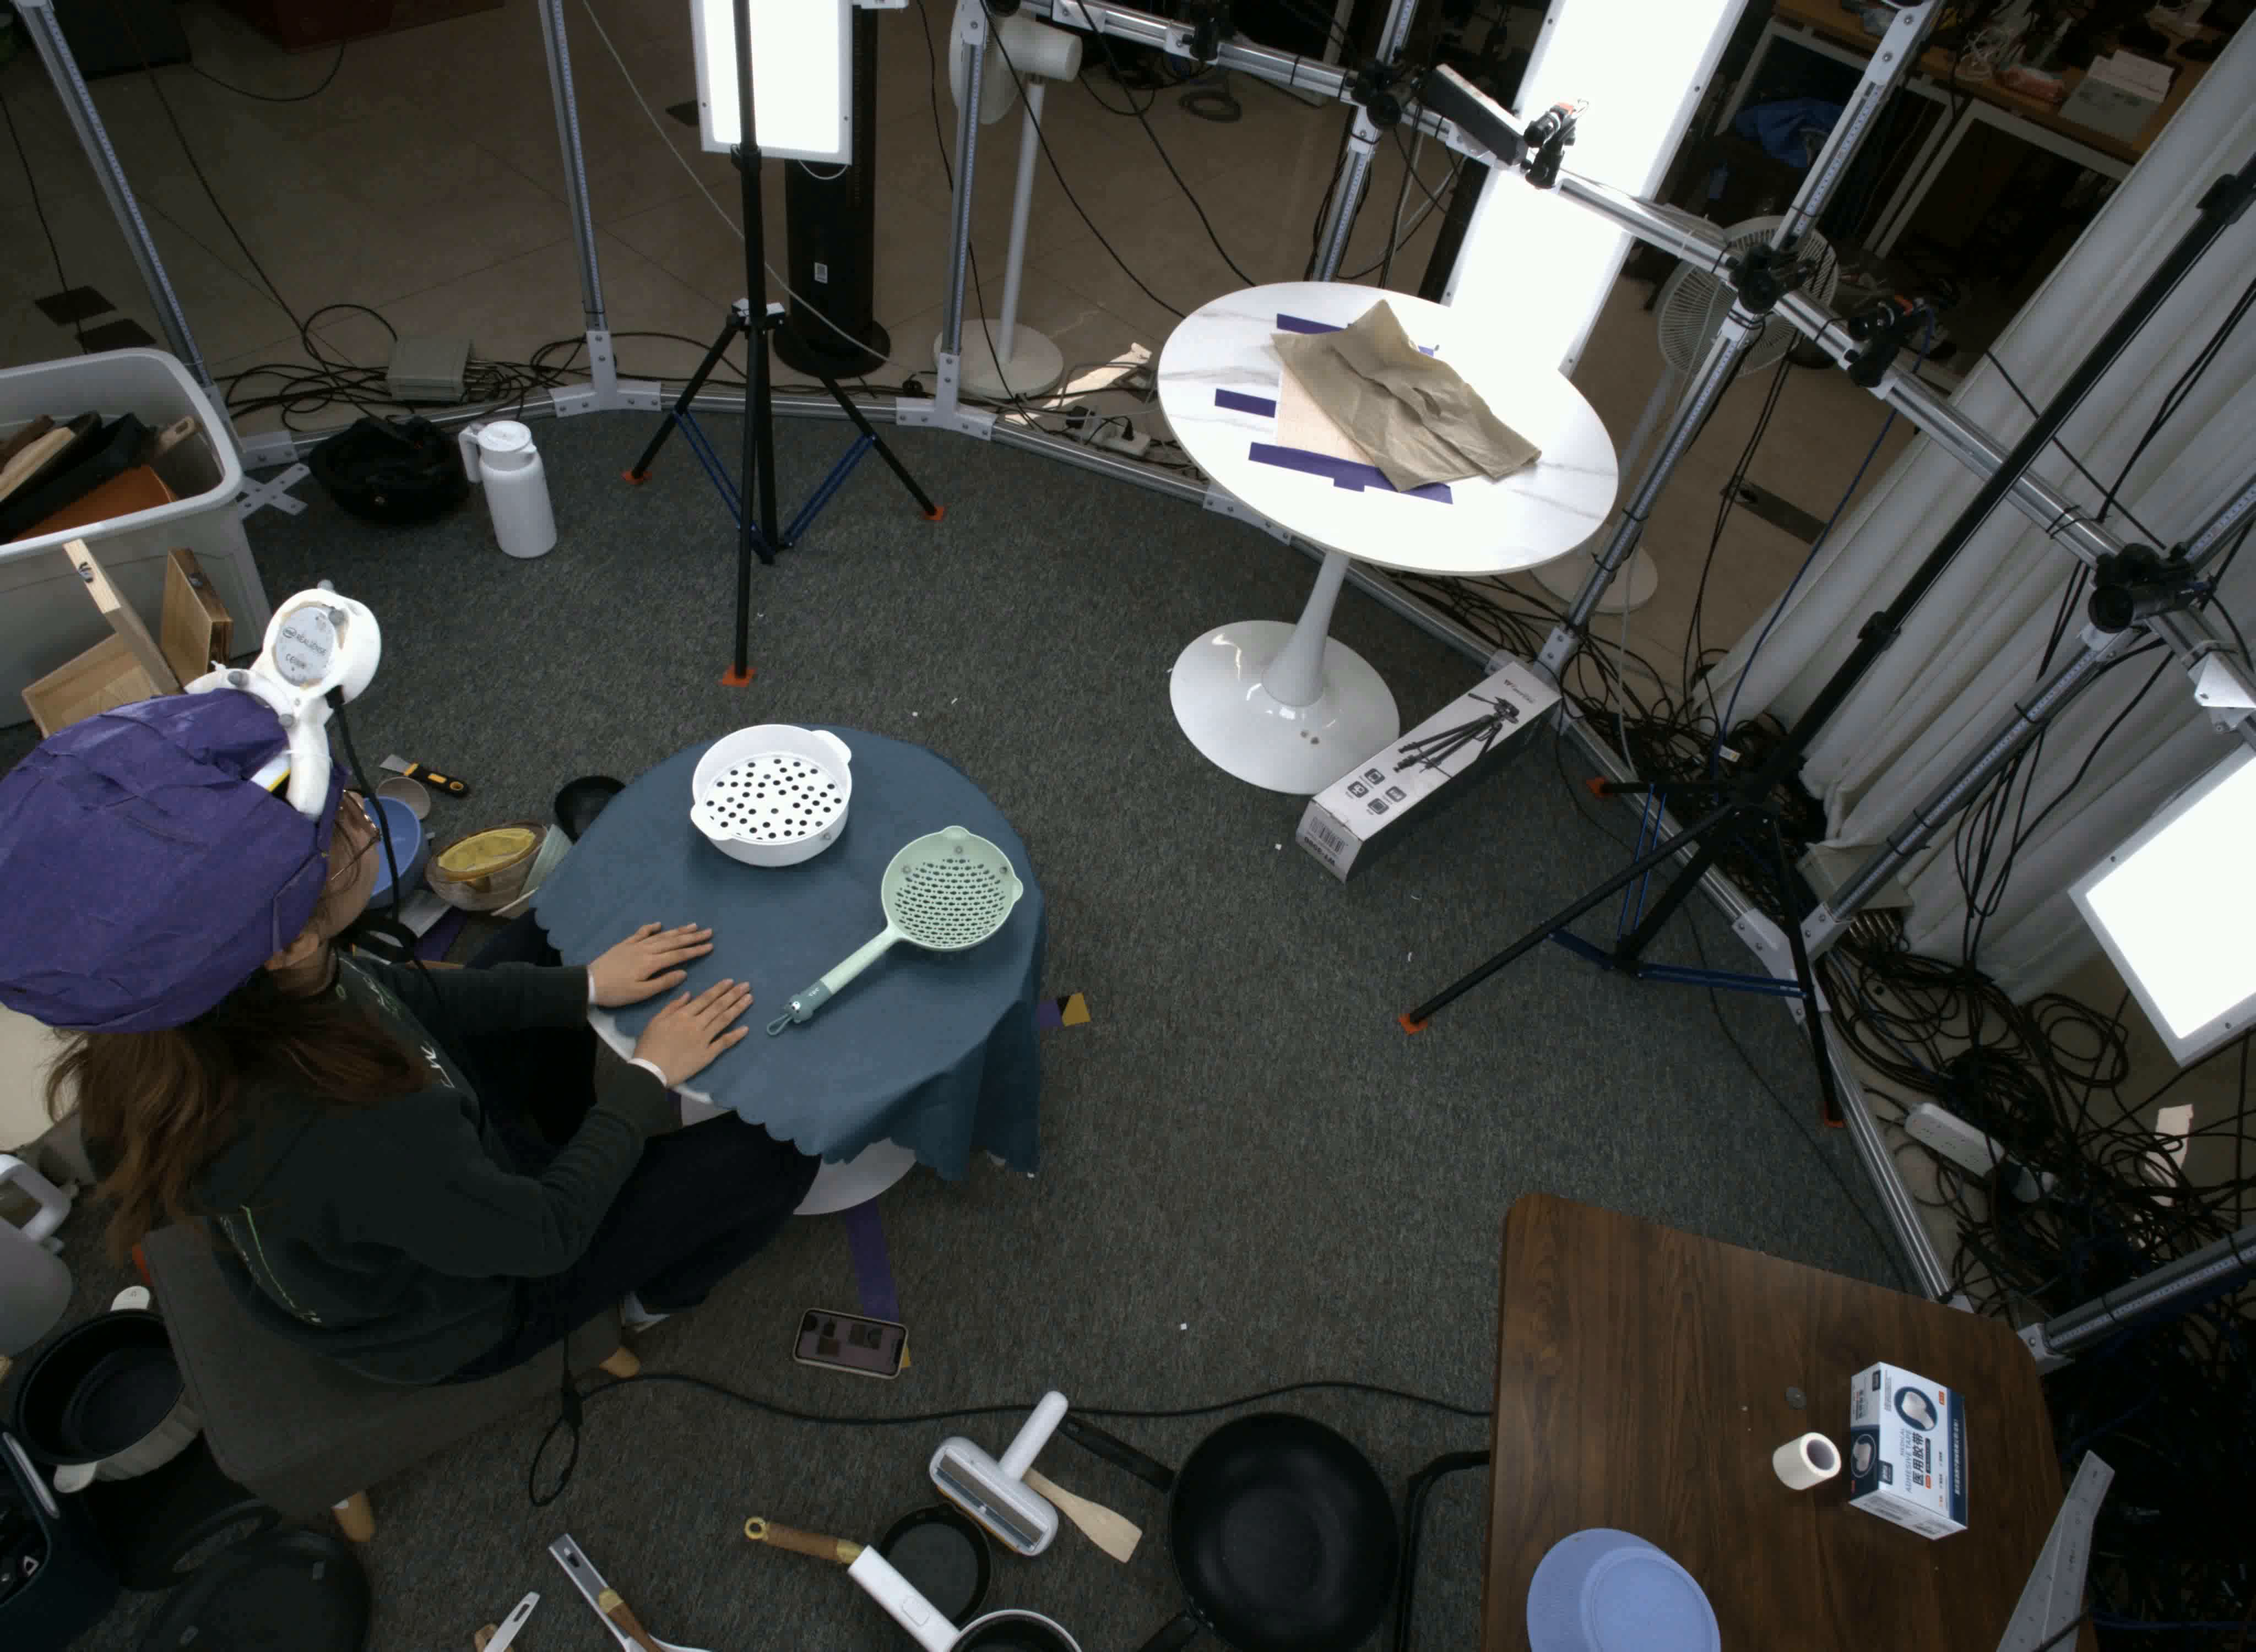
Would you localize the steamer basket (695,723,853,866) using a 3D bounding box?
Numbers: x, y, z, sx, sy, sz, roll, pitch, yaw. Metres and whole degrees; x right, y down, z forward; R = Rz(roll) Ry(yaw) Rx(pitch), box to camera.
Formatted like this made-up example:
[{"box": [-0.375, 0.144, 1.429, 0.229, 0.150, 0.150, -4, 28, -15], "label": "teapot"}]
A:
[{"box": [-0.464, -0.041, 1.708, 0.197, 0.071, 0.231, 38, 55, 16], "label": "steamer basket"}]

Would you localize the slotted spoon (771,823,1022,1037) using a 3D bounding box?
[{"box": [-0.296, 0.137, 1.618, 0.165, 0.077, 0.360, 42, 55, 19], "label": "slotted spoon"}]
